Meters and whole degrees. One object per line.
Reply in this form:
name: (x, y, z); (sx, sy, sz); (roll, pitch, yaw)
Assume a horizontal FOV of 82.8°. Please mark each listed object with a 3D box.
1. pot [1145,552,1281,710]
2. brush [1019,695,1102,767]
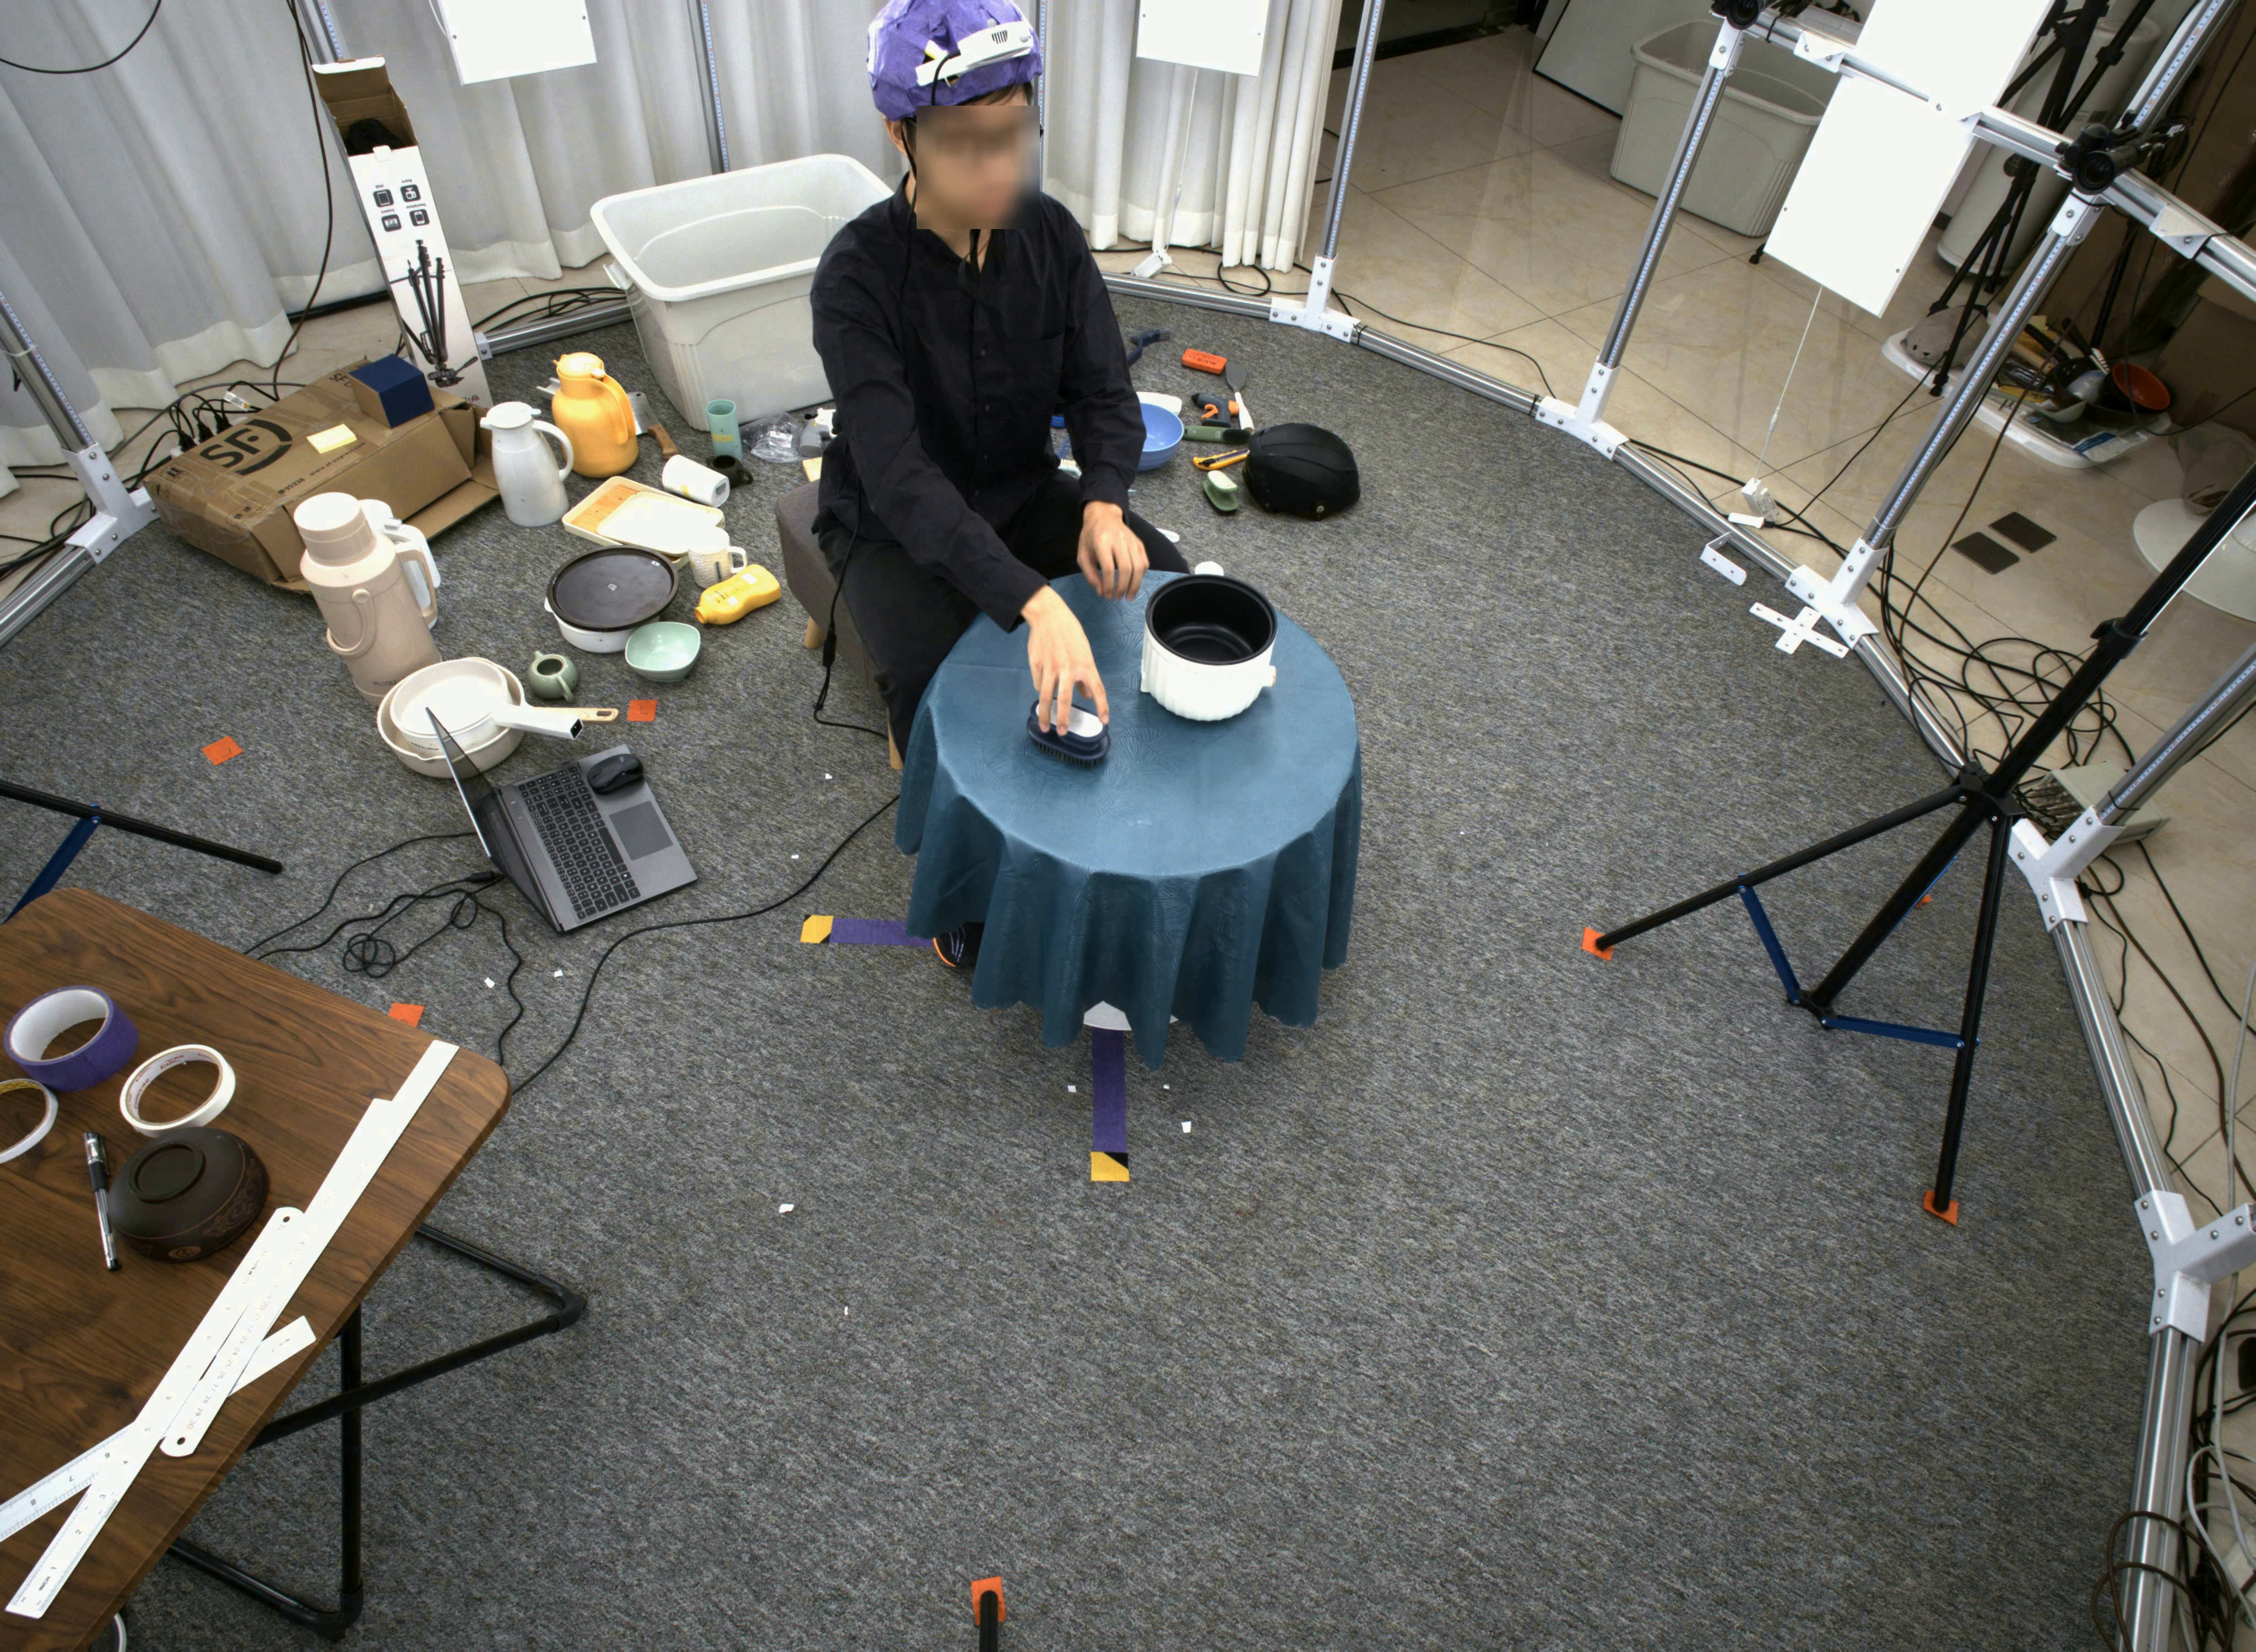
pot: (0.121, -0.260, 1.805); (0.190, 0.139, 0.246); (0, 51, -1)
brush: (-0.092, -0.127, 1.741); (0.122, 0.060, 0.069); (29, 55, 16)
